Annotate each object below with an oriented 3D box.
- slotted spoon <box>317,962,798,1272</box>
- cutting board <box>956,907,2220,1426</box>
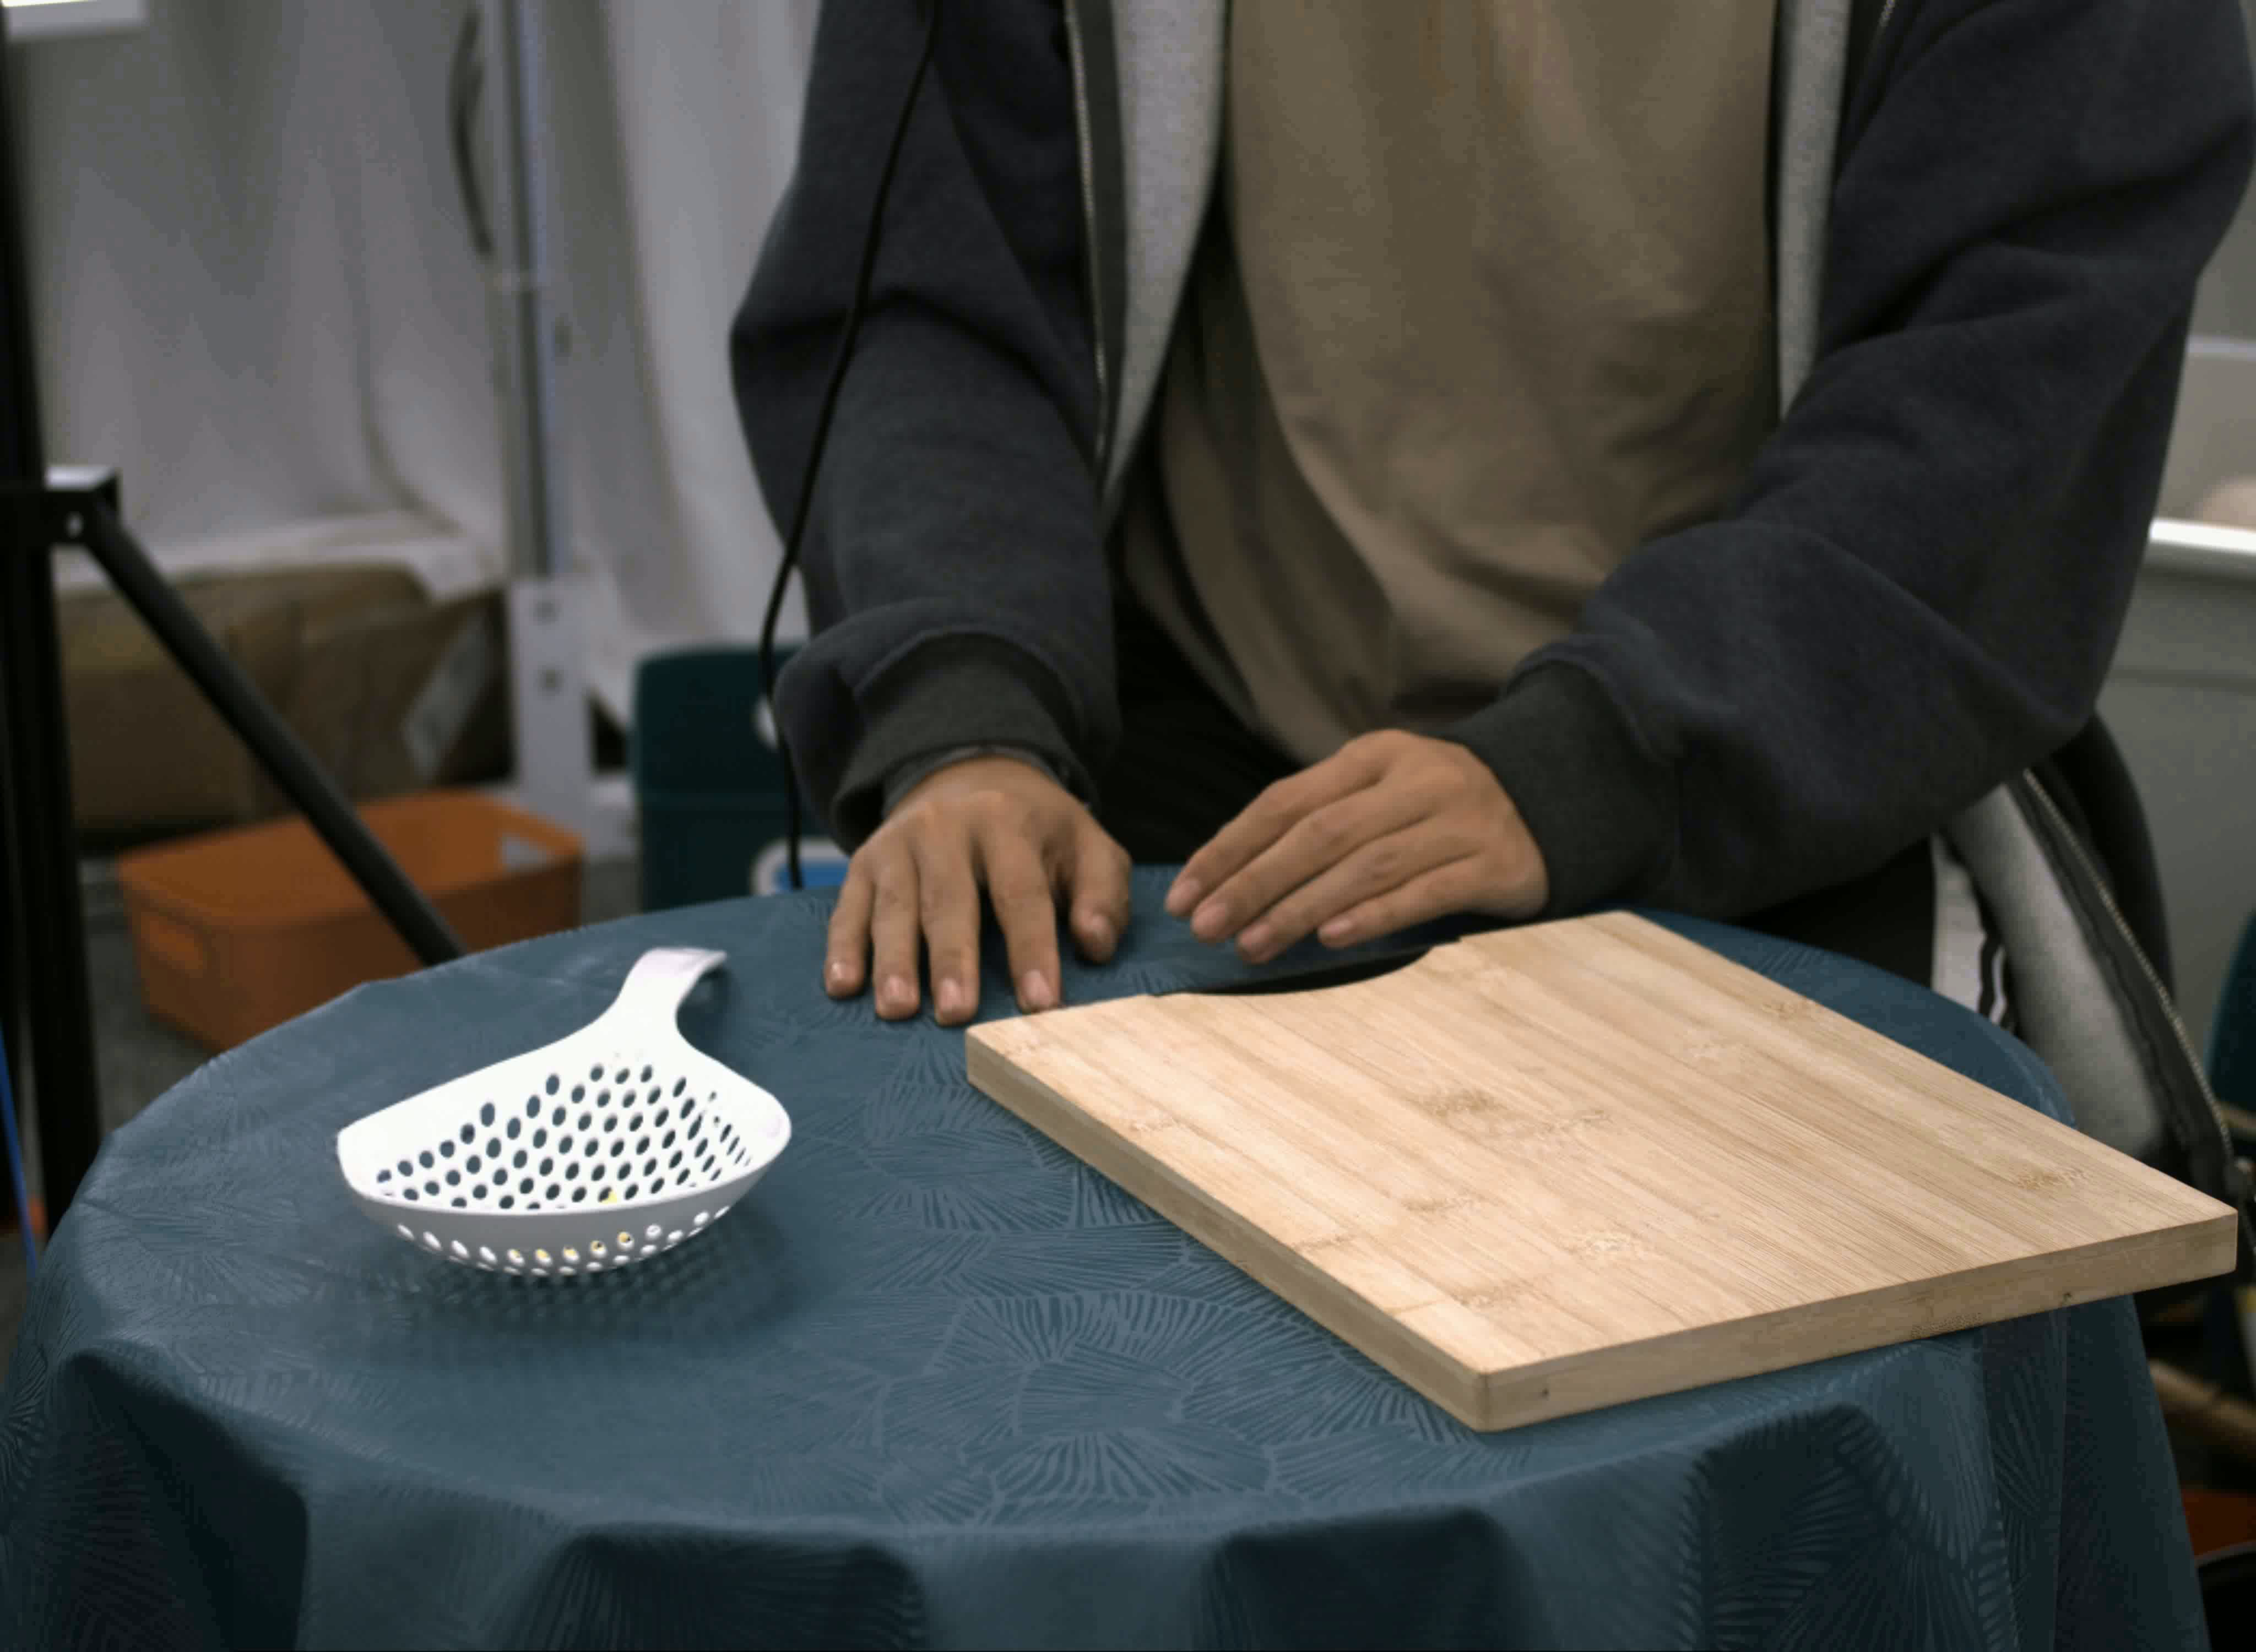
[{"bbox_3d":[-0.154,0.075,1.628,0.137,0.050,0.348,-3,16,5],"label":"slotted spoon"},{"bbox_3d":[0.126,0.093,1.562,0.246,0.023,0.355,-9,17,-23],"label":"cutting board"}]
